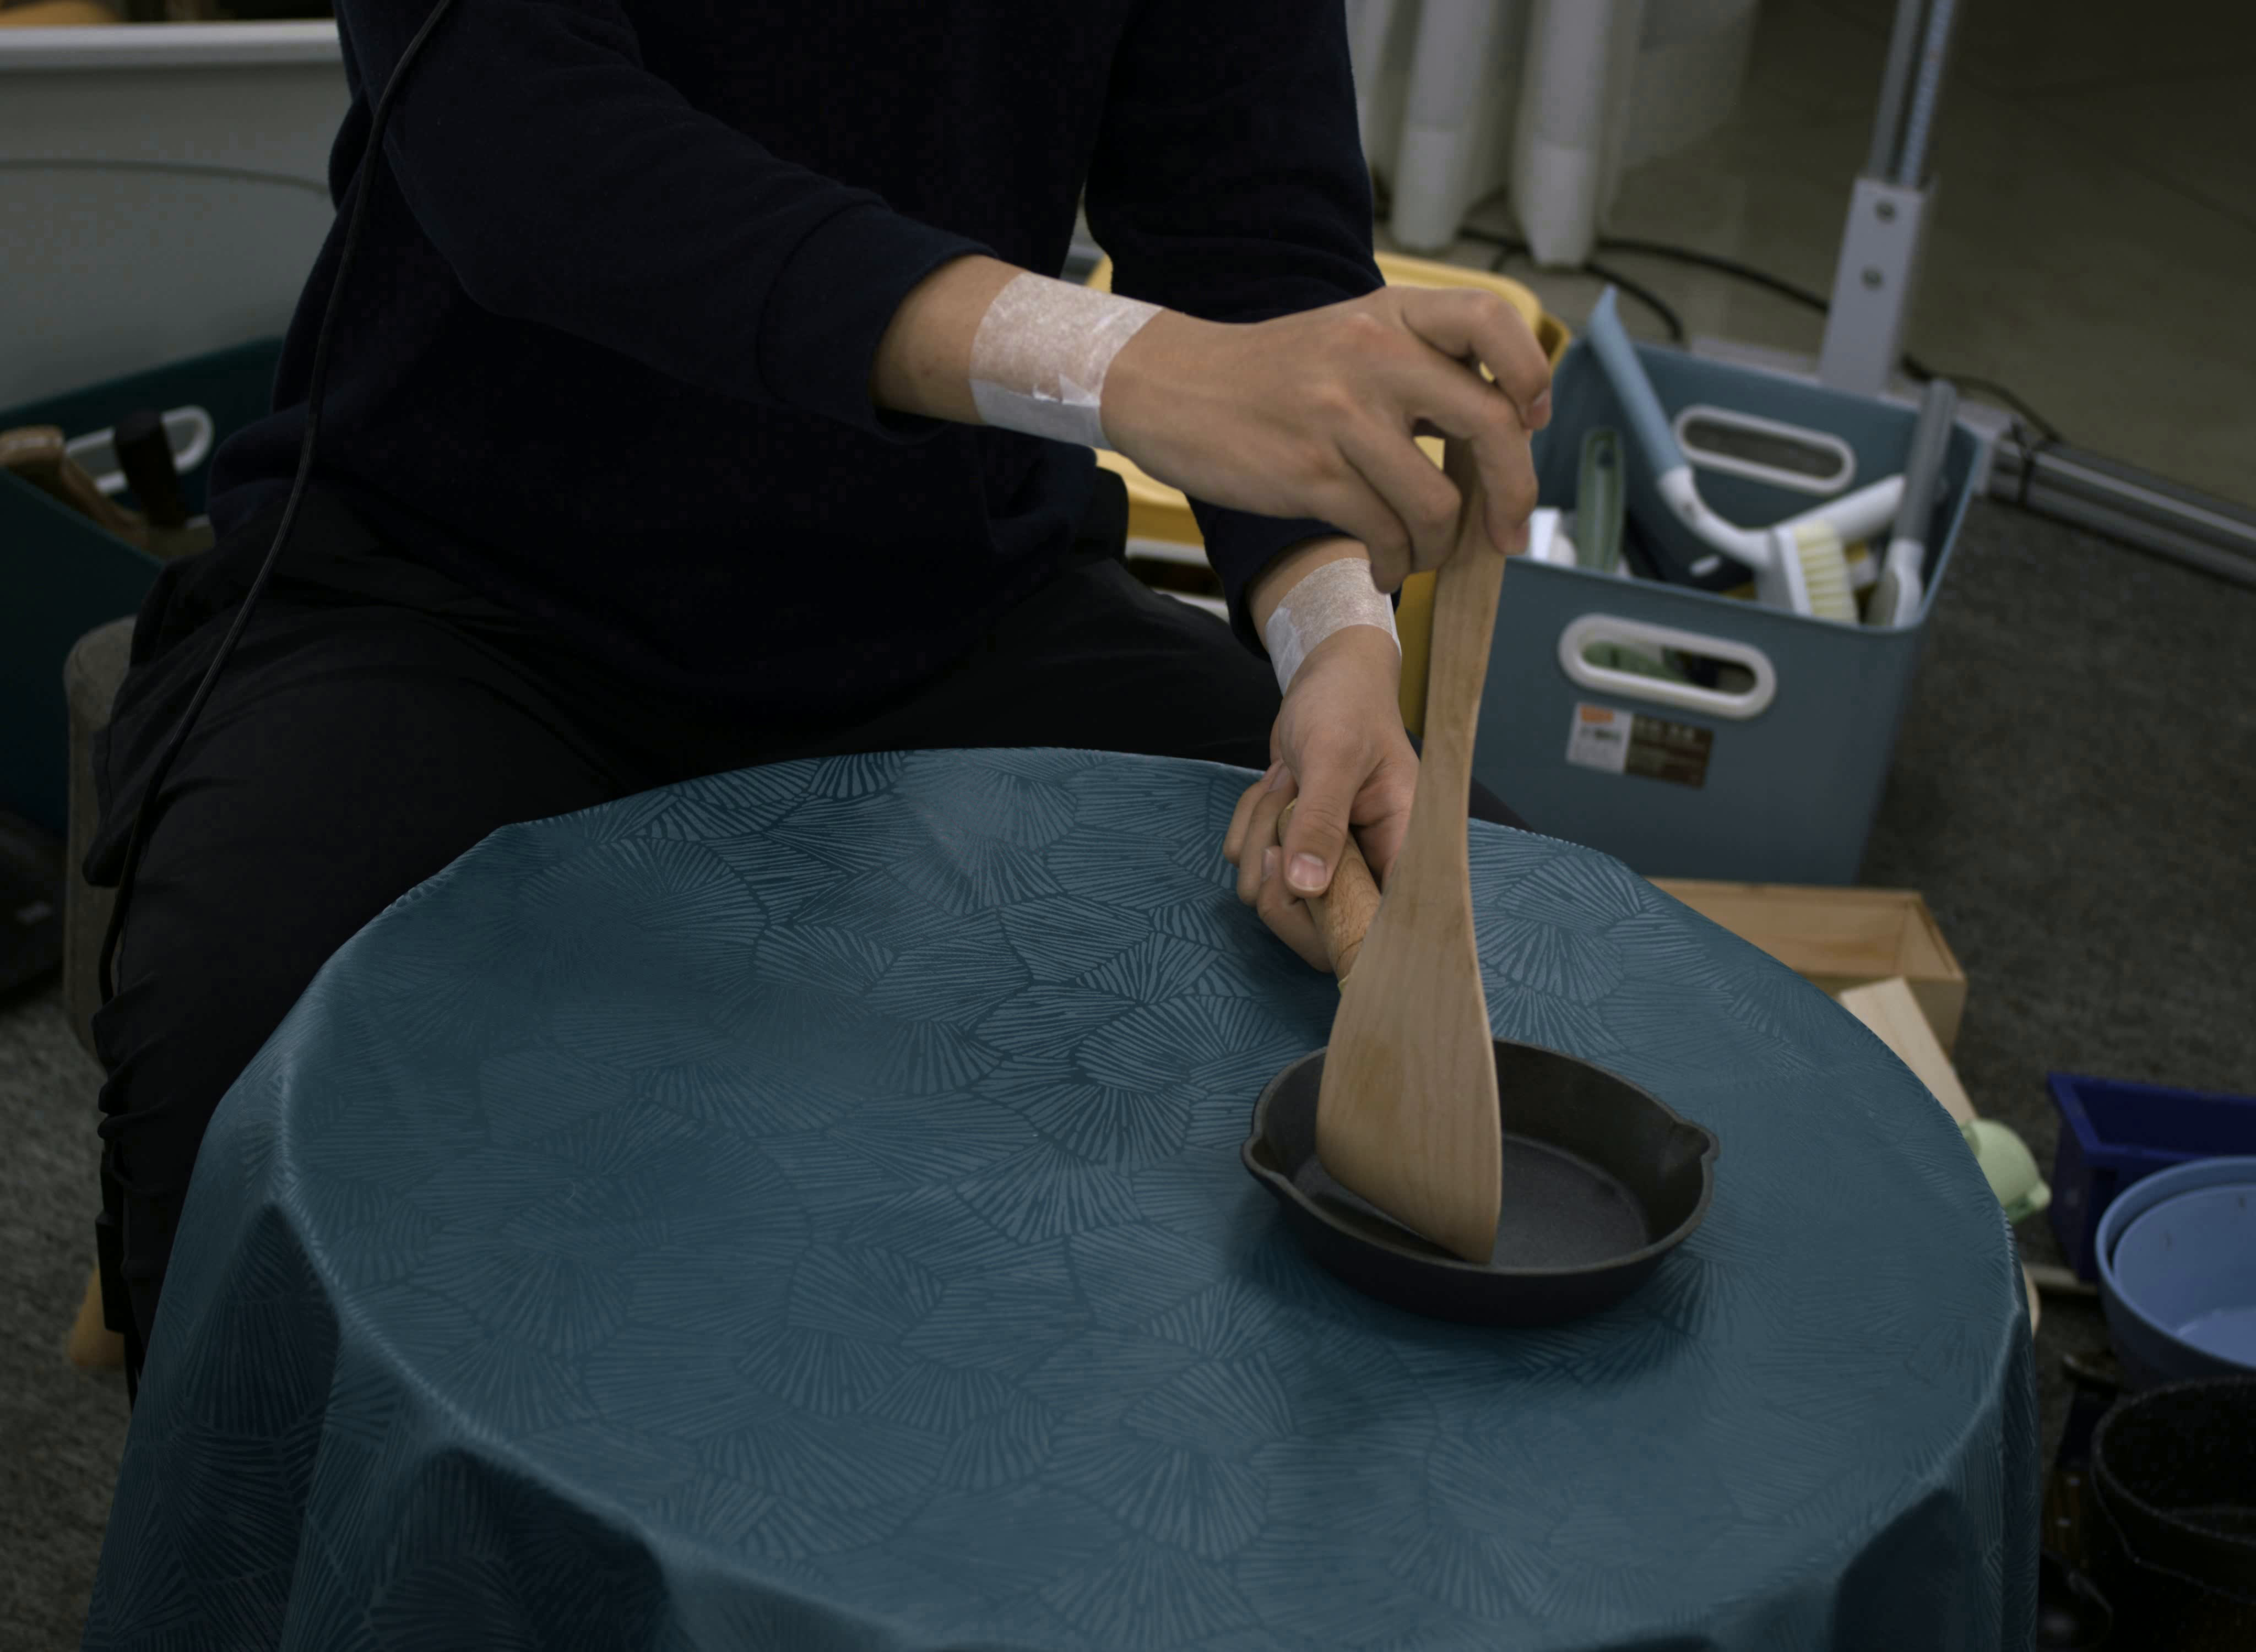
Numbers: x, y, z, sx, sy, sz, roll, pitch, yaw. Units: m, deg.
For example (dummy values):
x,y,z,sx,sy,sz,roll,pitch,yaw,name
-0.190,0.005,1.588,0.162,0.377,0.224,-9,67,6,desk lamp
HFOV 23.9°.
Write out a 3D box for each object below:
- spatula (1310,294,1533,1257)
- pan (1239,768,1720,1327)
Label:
x,y,z,sx,sy,sz,roll,pitch,yaw,name
0.104,-0.014,1.743,0.080,0.327,0.016,18,20,36,spatula
0.100,0.075,1.865,0.168,0.049,0.327,0,29,-14,pan
